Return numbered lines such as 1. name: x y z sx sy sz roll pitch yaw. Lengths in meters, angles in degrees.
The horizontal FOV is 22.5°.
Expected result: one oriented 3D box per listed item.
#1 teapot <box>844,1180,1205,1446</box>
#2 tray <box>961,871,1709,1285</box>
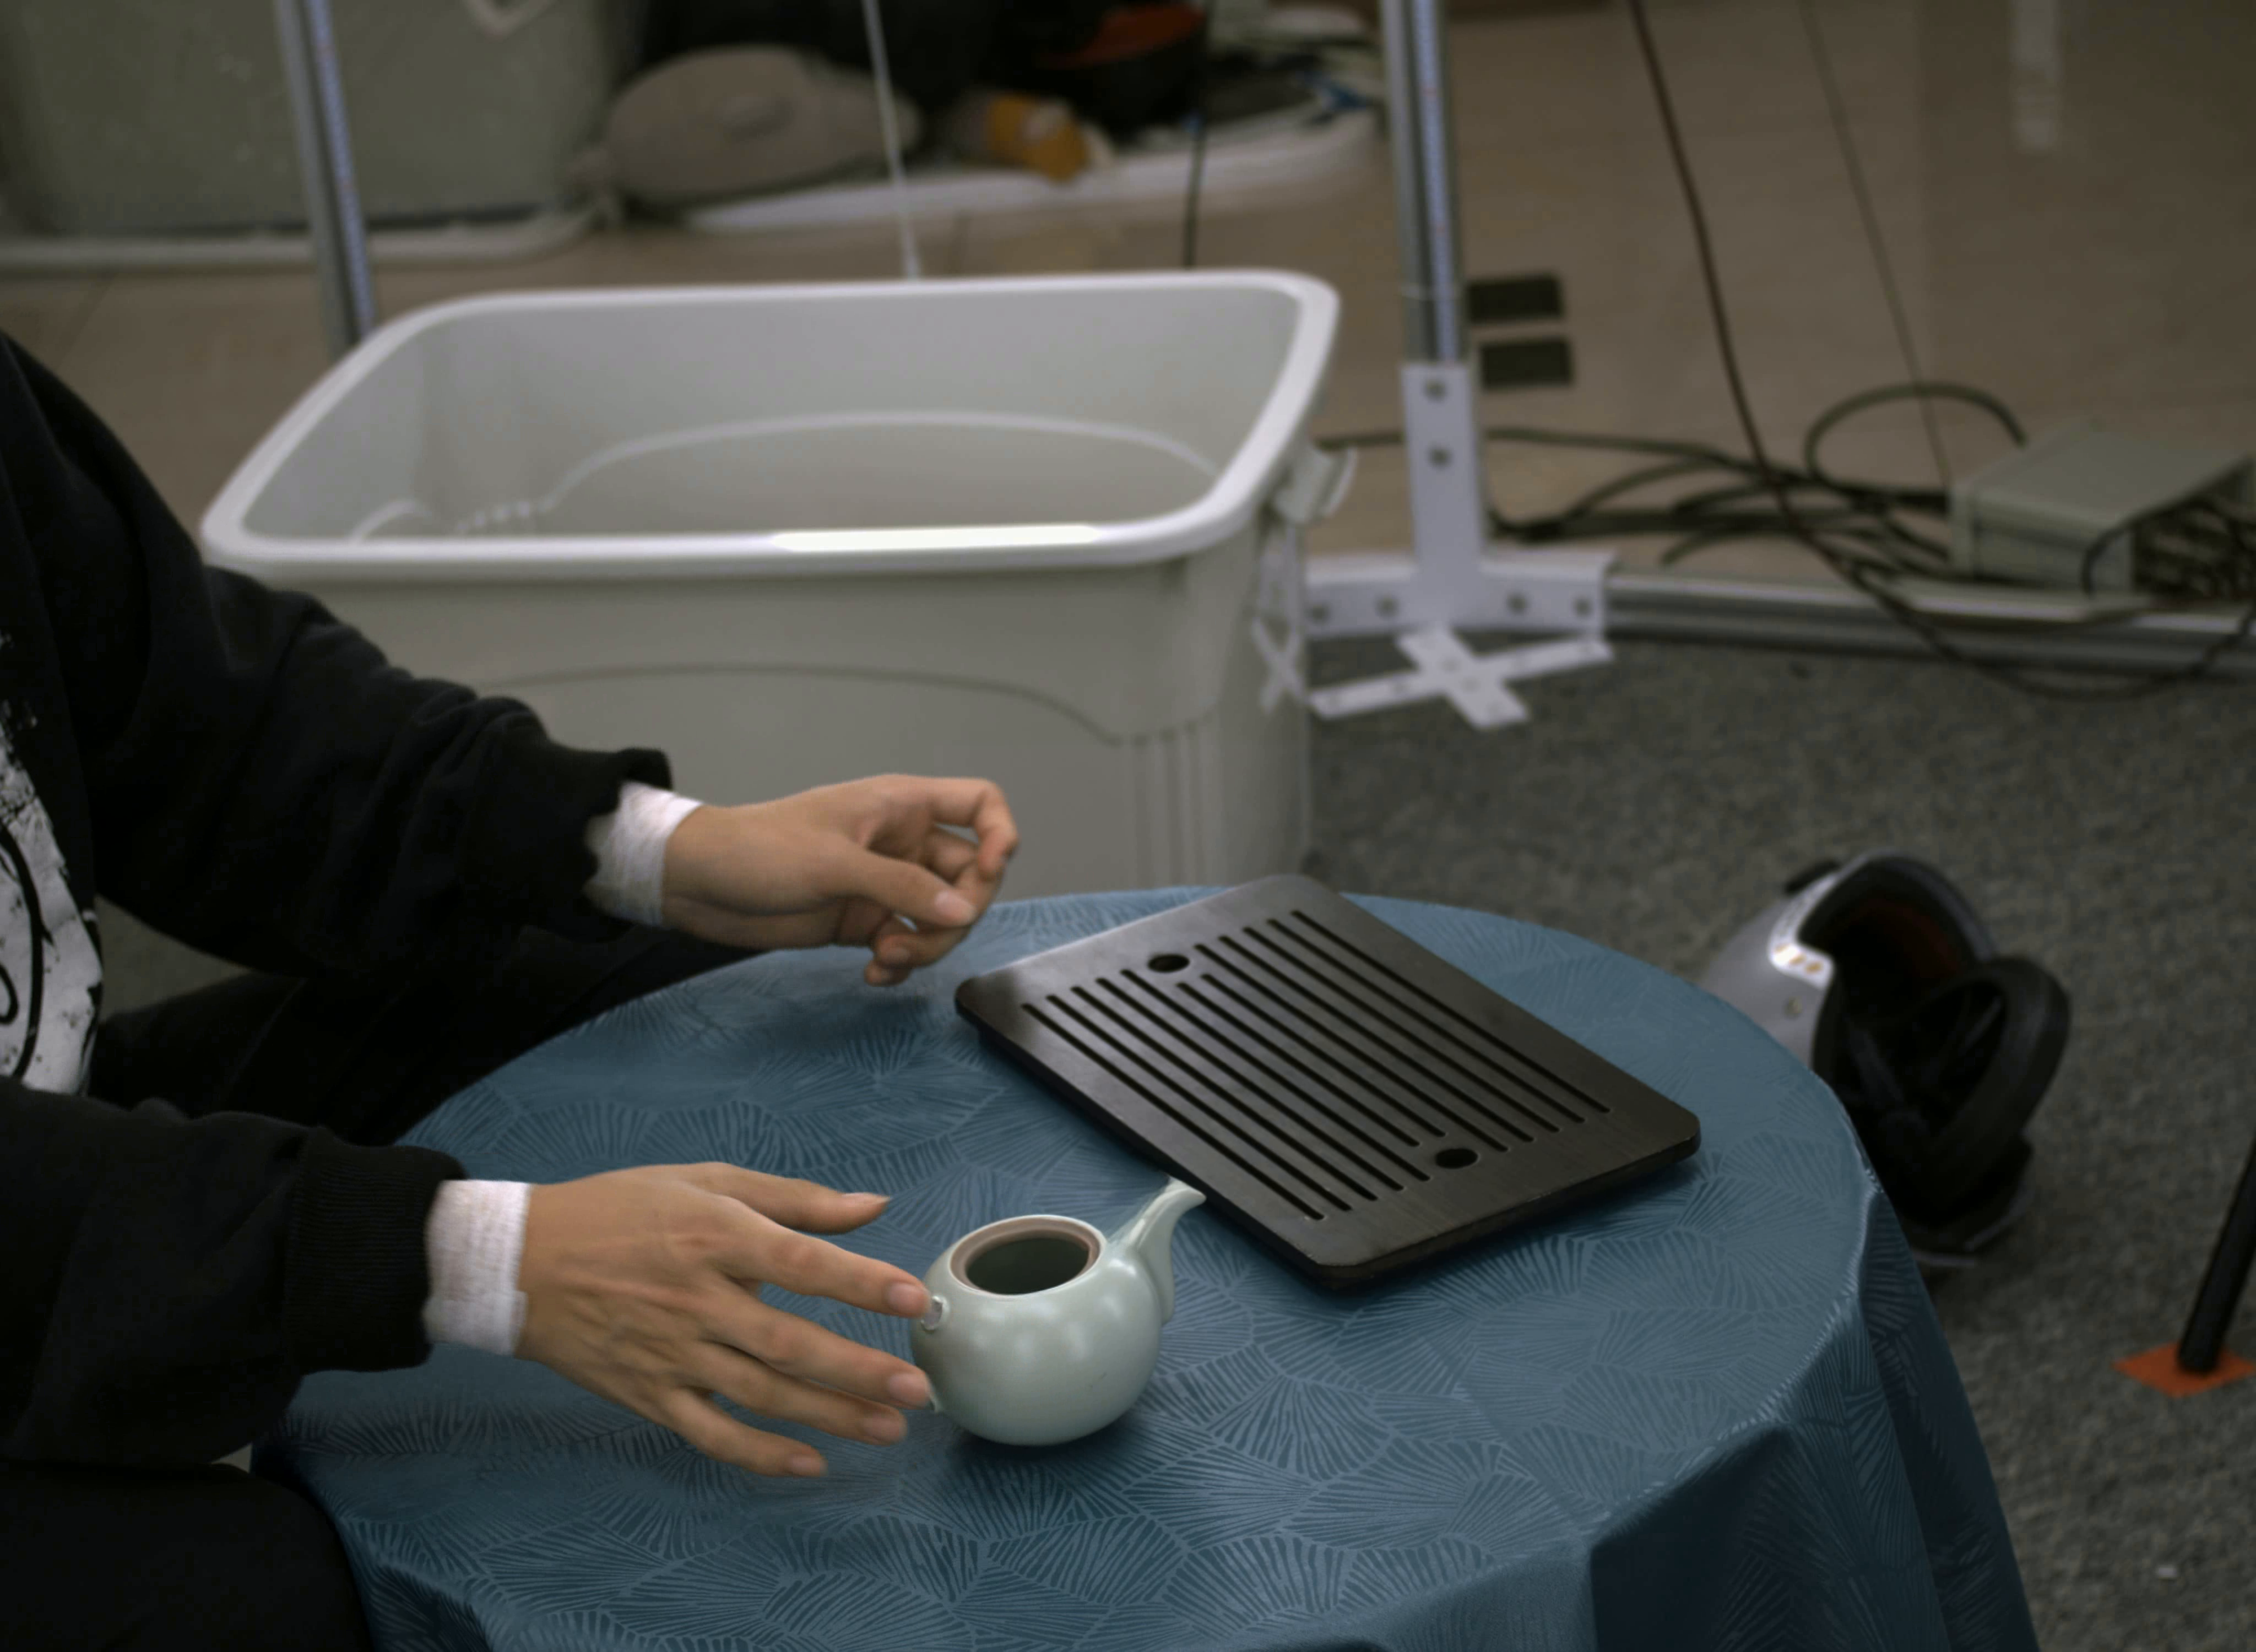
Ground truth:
1. teapot: -0.033 0.176 1.992 0.143 0.076 0.087 -16 27 -23
2. tray: 0.075 0.095 2.205 0.169 0.019 0.302 -19 27 -24
